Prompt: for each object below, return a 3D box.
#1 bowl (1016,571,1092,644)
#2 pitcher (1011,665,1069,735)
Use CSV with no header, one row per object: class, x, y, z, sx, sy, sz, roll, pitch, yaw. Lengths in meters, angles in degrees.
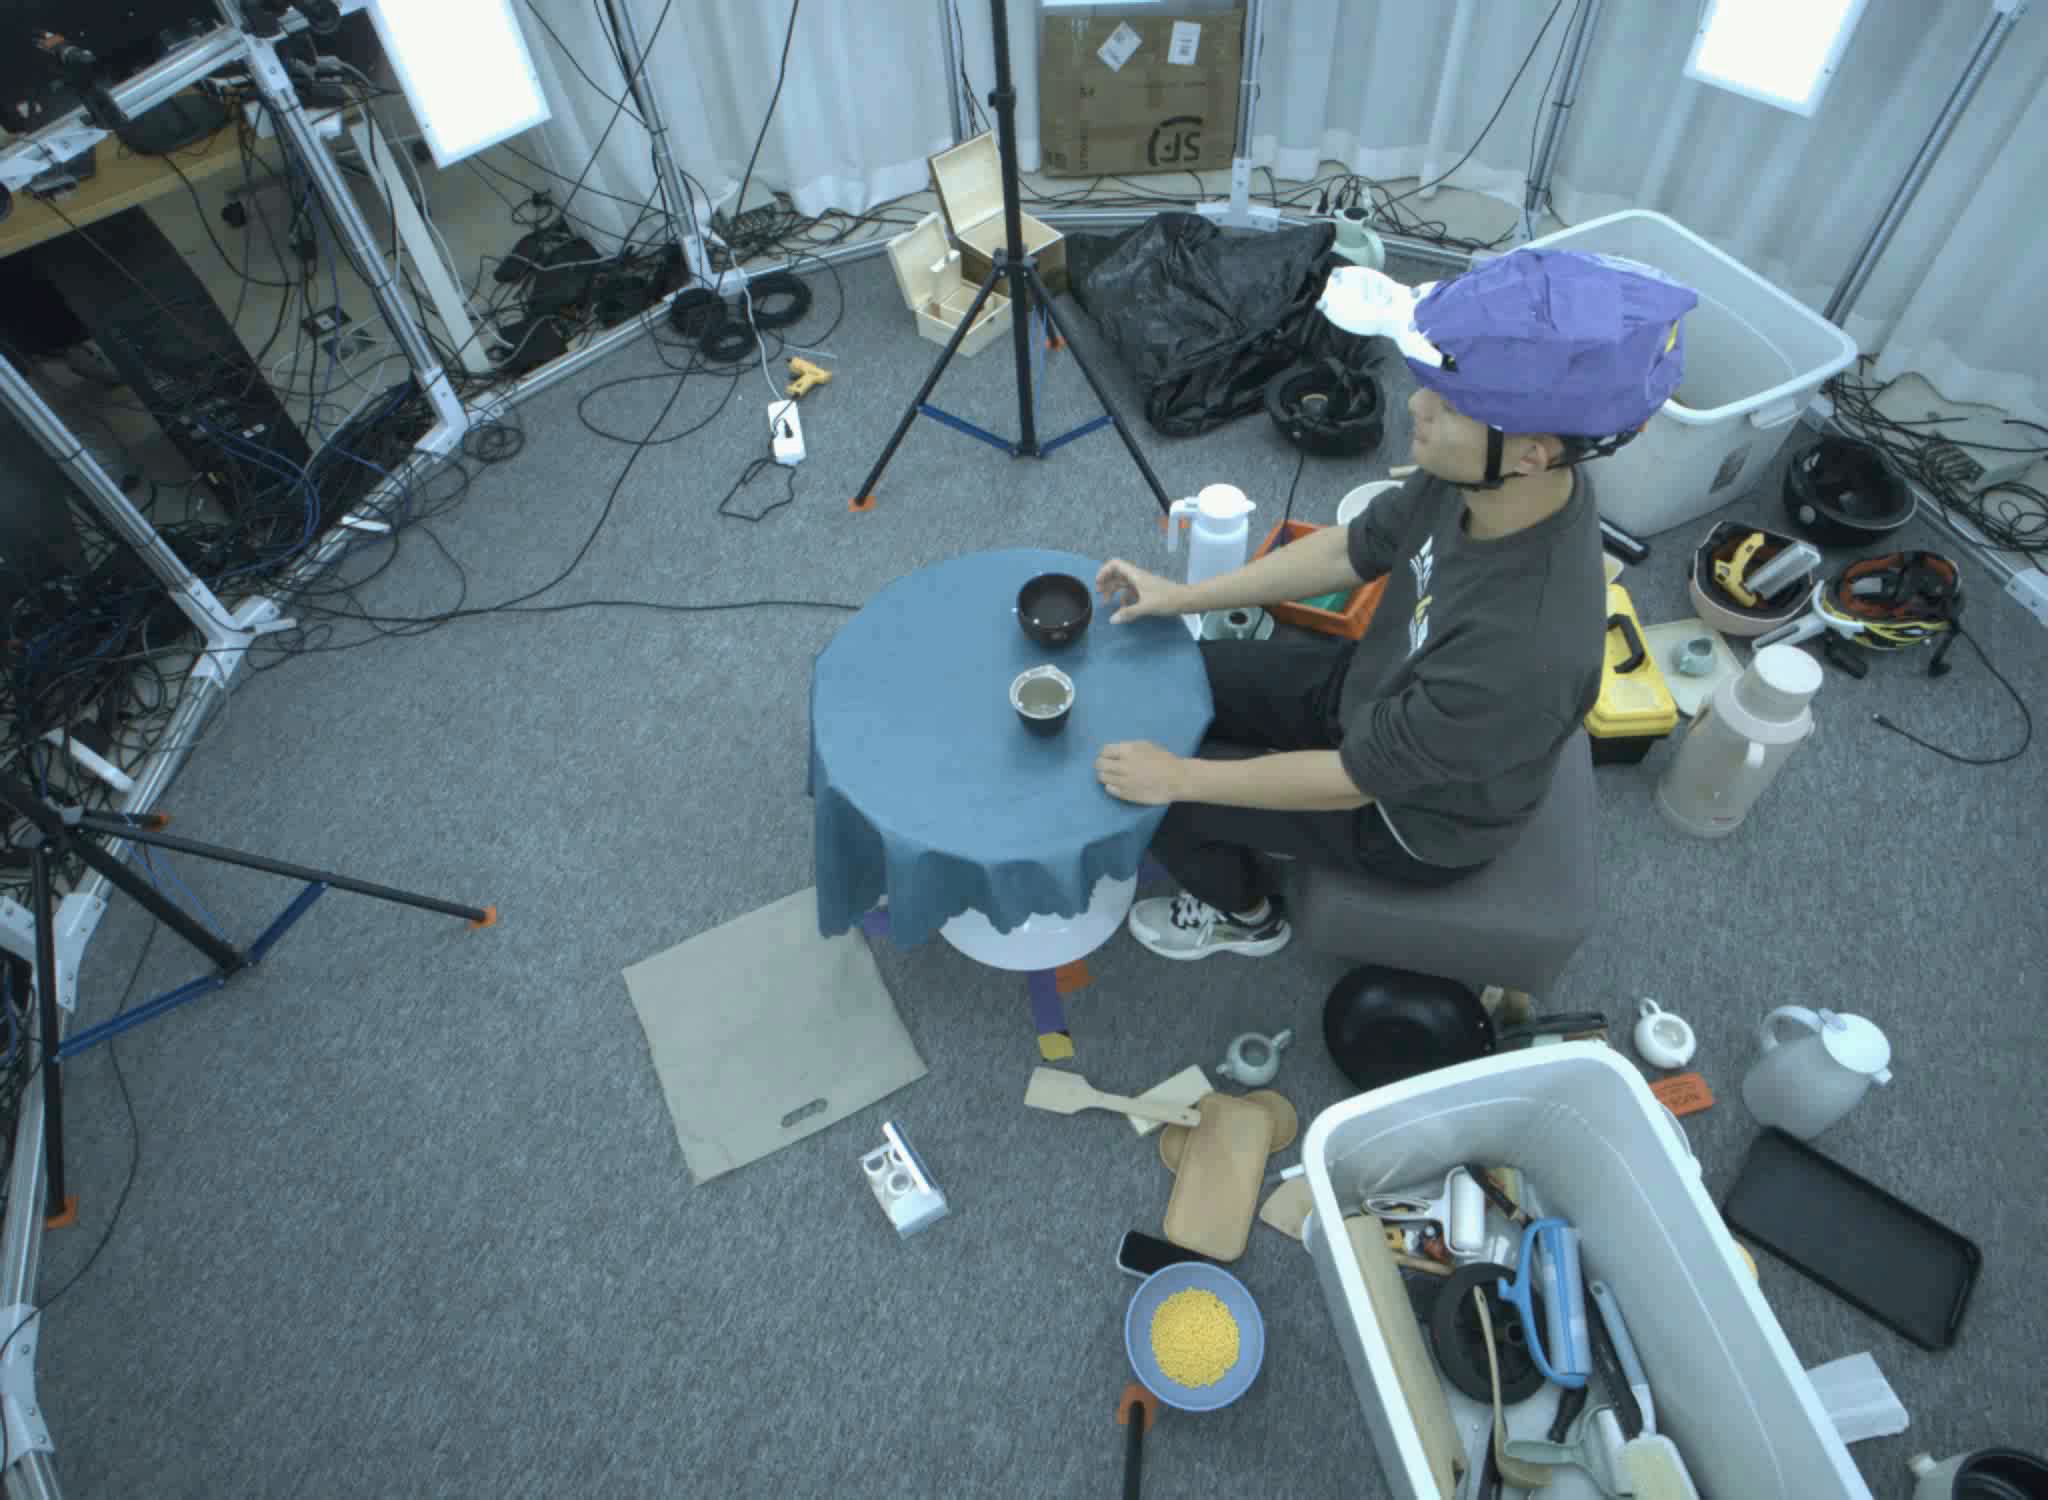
bowl,0.046,-0.211,1.889,0.118,0.070,0.117,0,55,1
pitcher,0.026,-0.067,1.786,0.083,0.072,0.096,14,57,14
